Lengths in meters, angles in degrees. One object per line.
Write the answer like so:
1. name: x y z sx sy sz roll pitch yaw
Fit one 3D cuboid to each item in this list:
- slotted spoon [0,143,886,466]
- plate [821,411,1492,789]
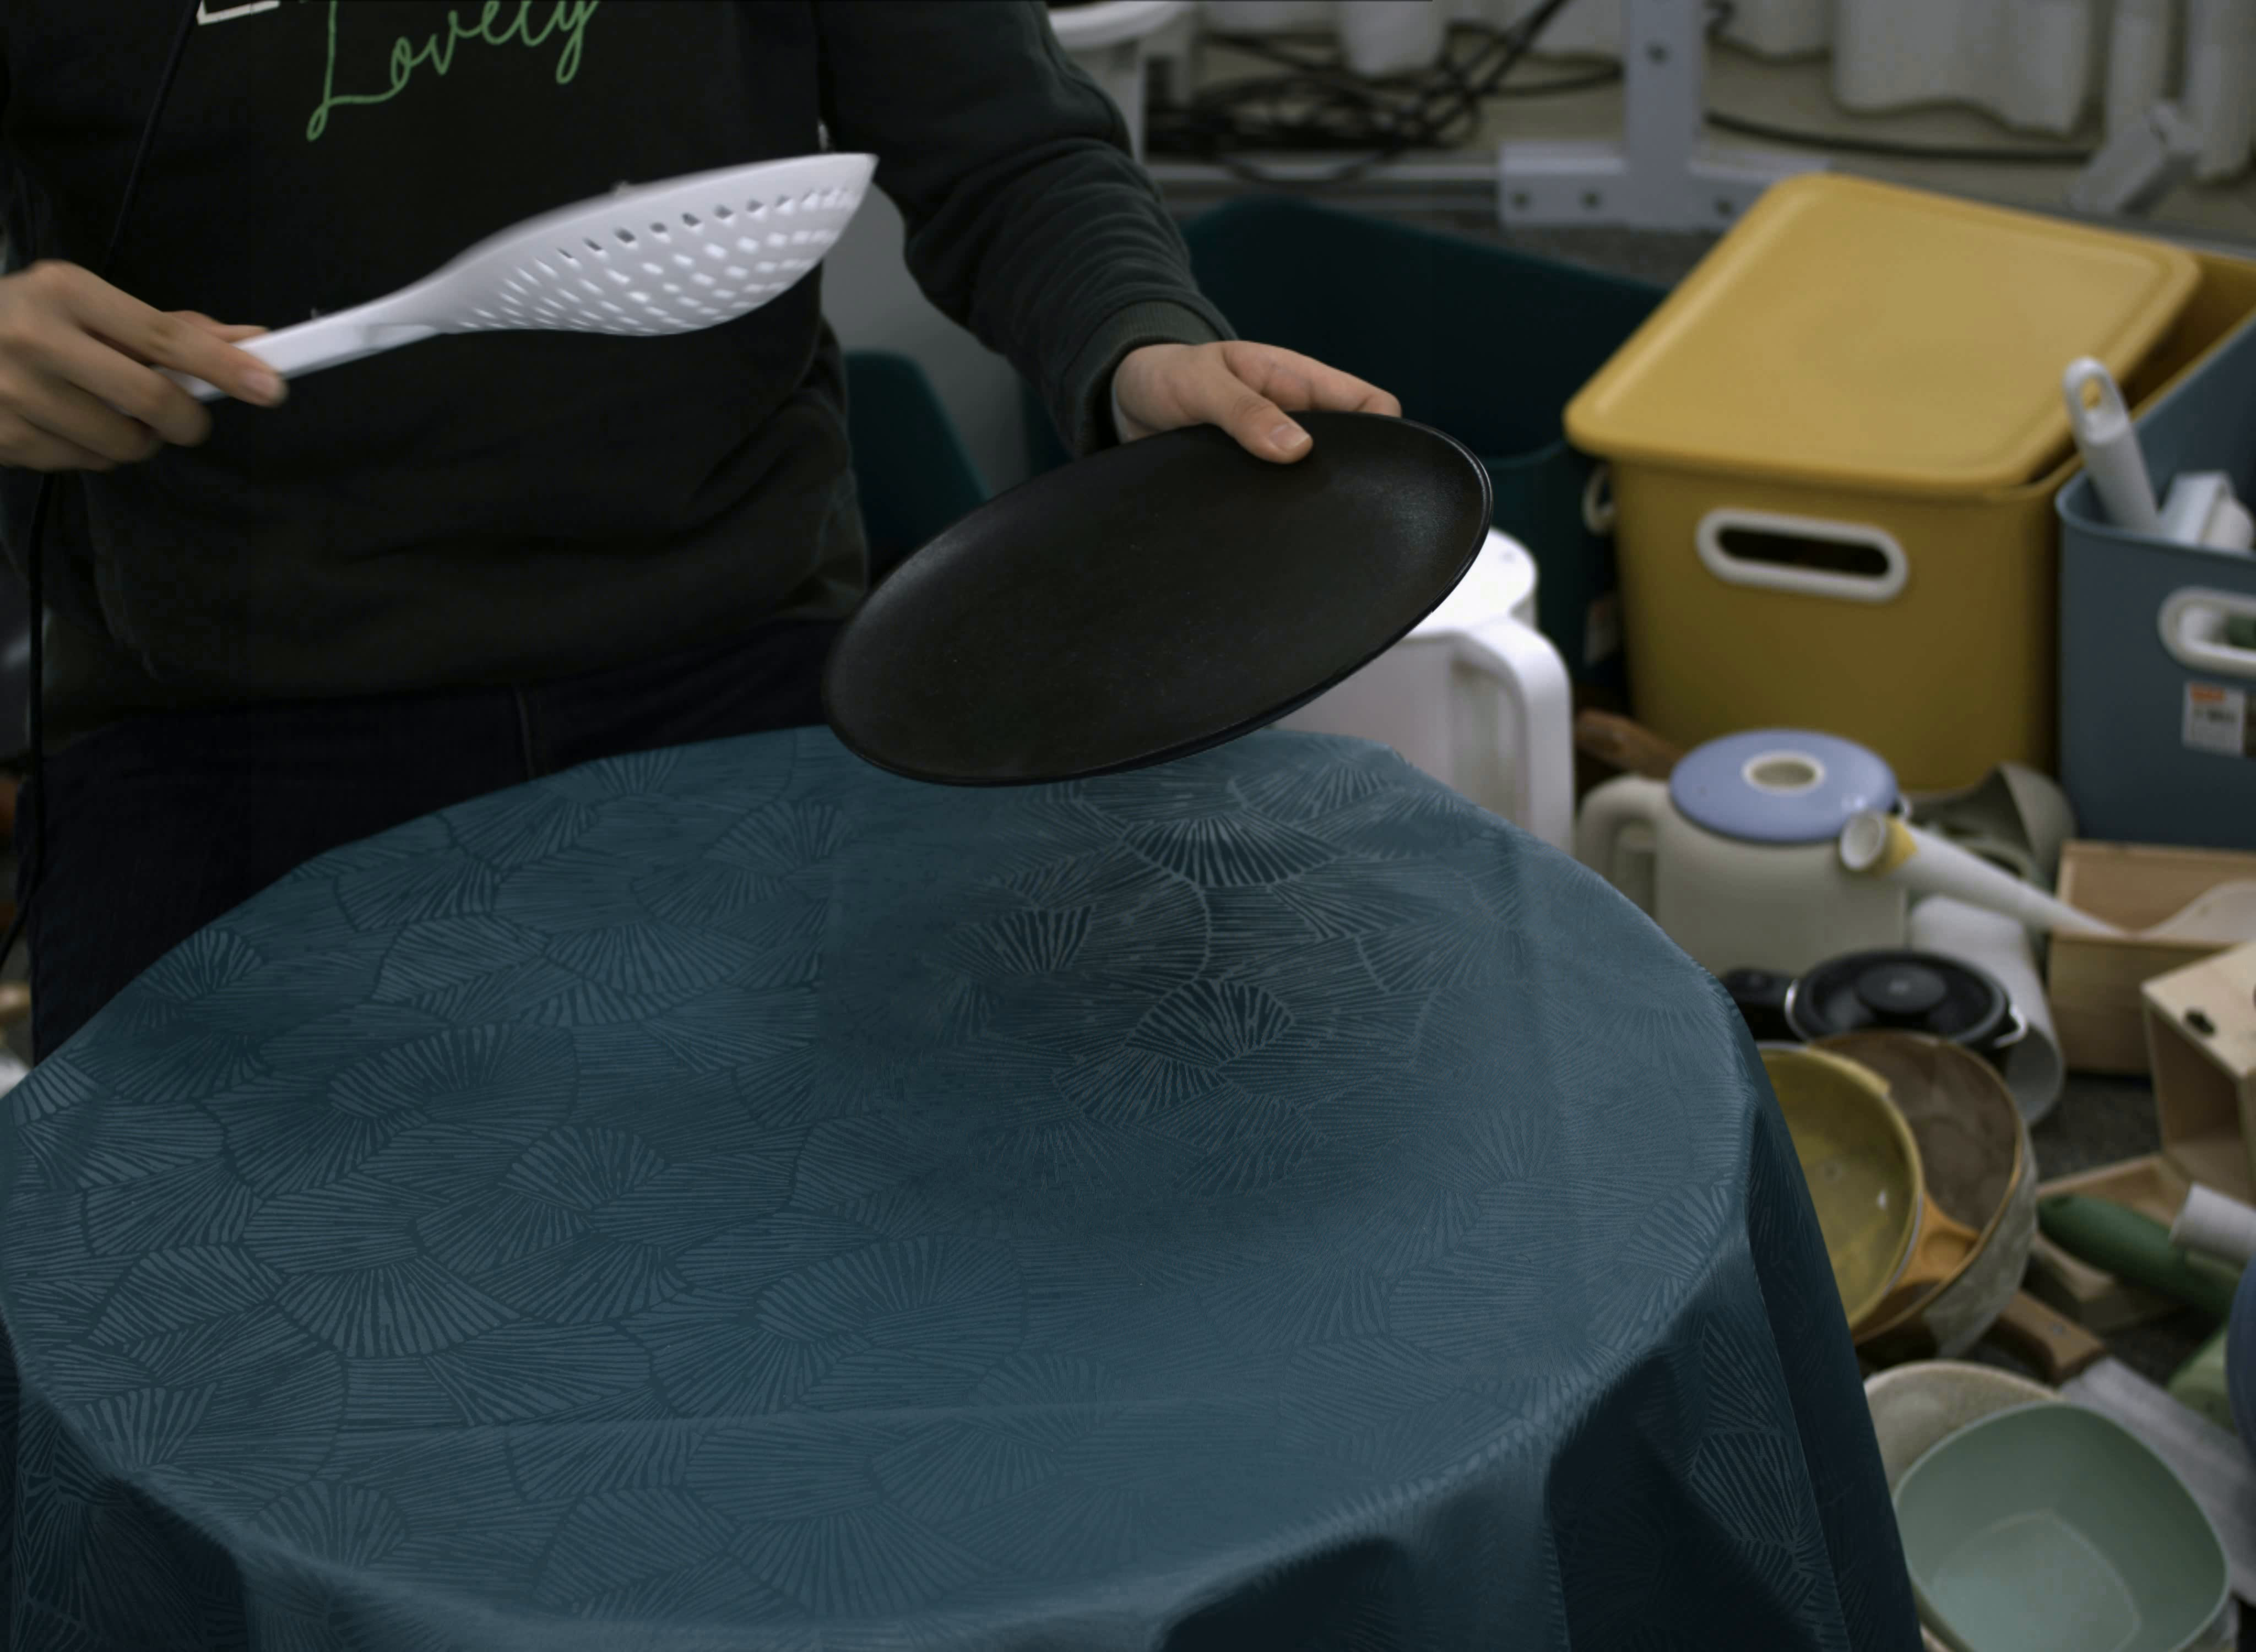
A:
1. slotted spoon: -0.237 -0.173 1.903 0.346 0.046 0.137 -10 5 23
2. plate: 0.012 -0.074 1.944 0.242 0.023 0.248 -15 27 8
